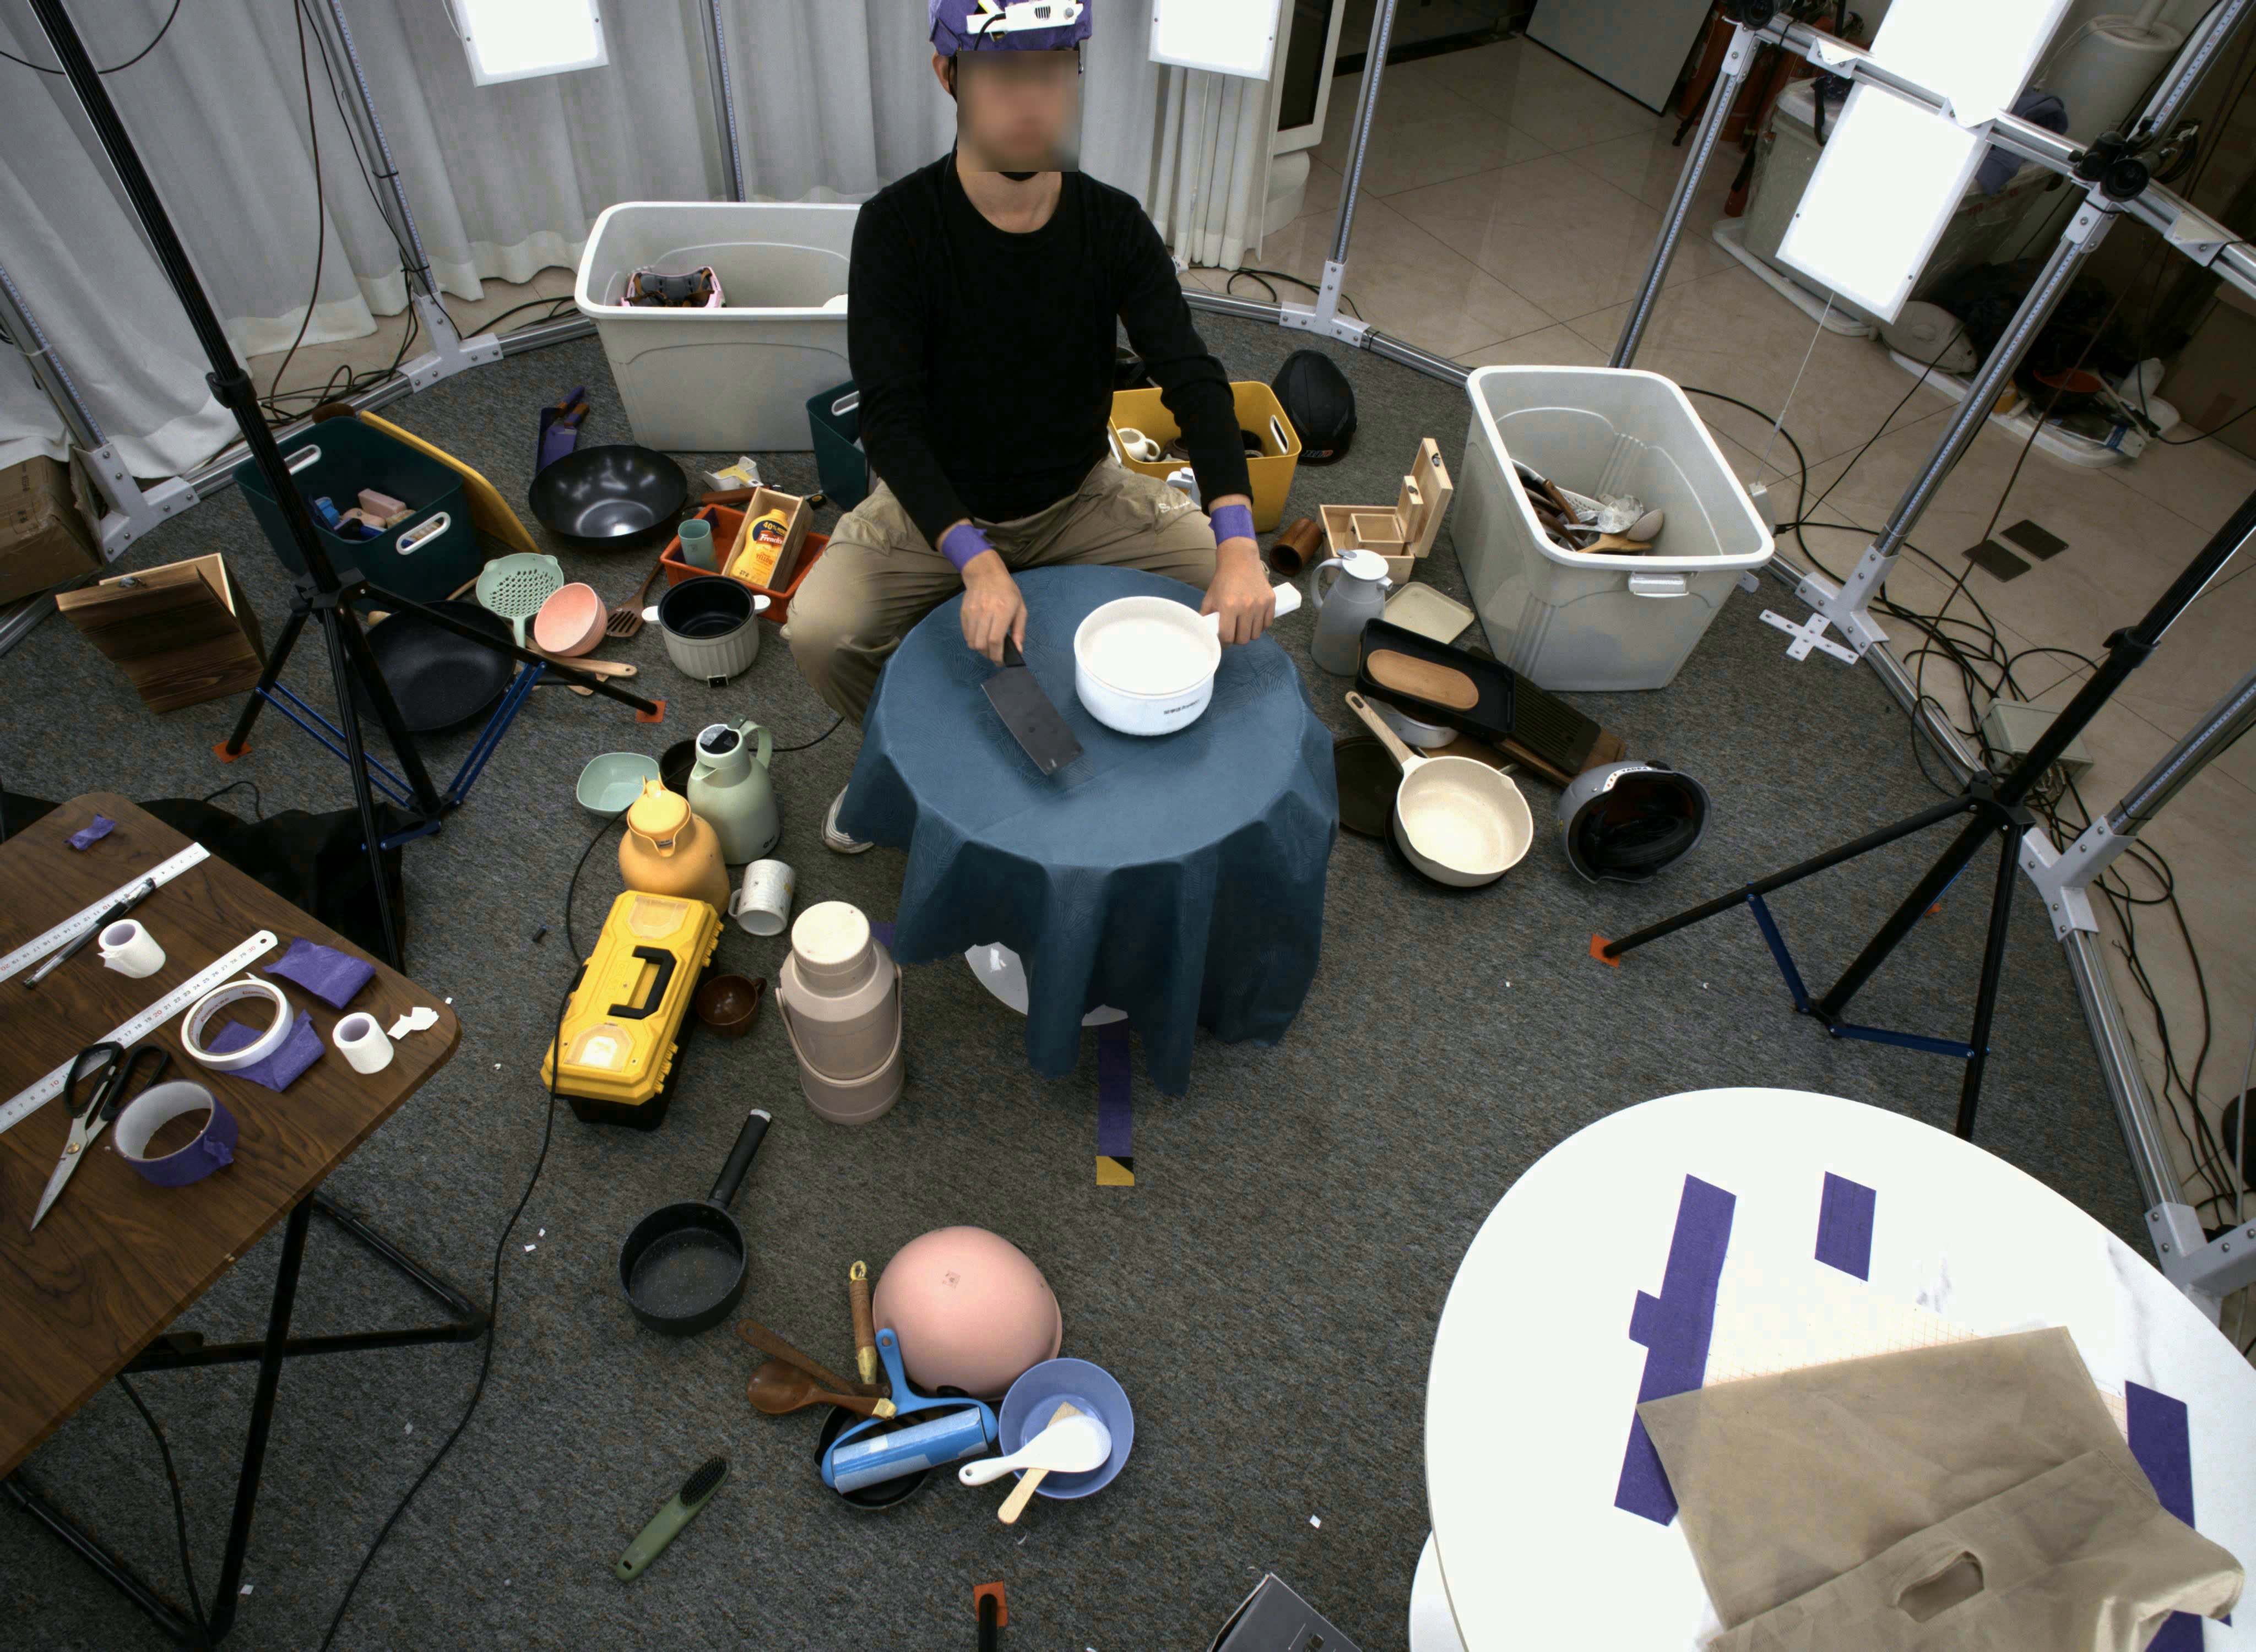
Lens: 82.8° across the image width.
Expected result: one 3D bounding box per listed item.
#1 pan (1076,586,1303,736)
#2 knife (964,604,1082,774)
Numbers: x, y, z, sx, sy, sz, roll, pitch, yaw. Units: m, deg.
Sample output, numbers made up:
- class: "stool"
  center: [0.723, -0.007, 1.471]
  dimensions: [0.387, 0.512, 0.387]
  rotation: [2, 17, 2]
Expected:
- class: "pan"
  center: [0.091, -0.246, 1.826]
  dimensions: [0.356, 0.099, 0.205]
  rotation: [-23, 54, -23]
- class: "knife"
  center: [-0.156, -0.194, 1.747]
  dimensions: [0.081, 0.020, 0.309]
  rotation: [-27, 60, -3]
